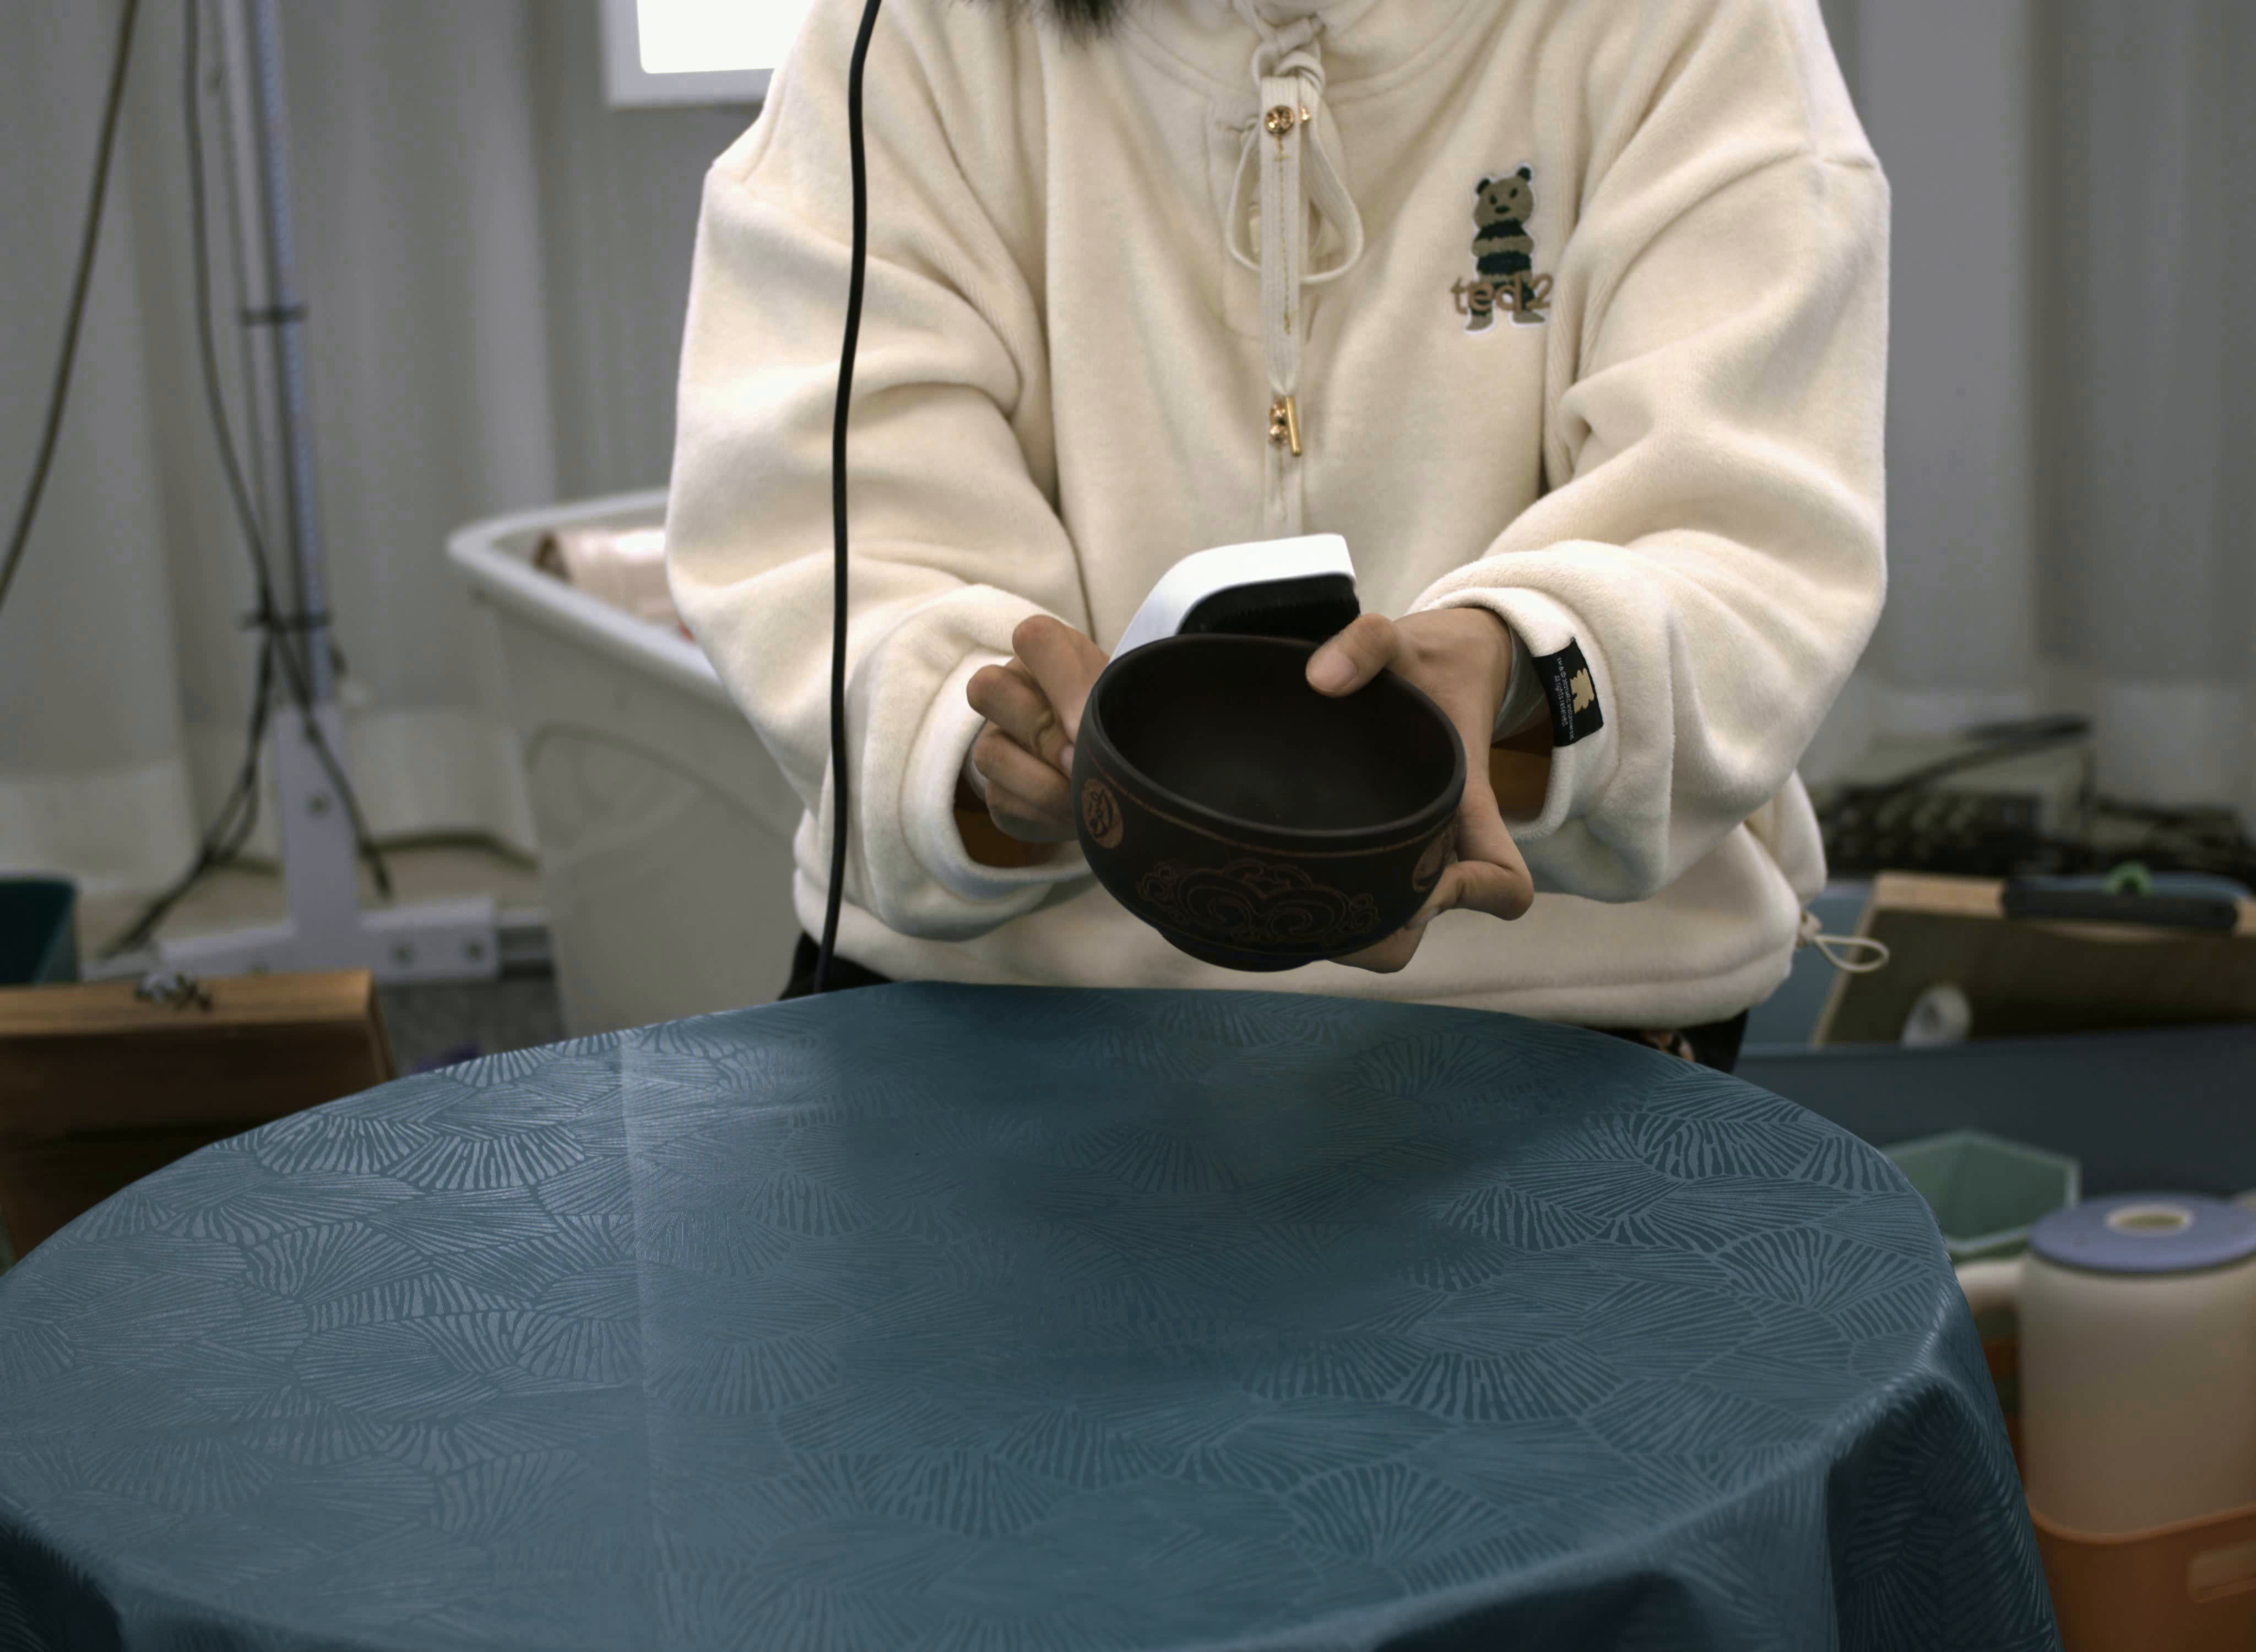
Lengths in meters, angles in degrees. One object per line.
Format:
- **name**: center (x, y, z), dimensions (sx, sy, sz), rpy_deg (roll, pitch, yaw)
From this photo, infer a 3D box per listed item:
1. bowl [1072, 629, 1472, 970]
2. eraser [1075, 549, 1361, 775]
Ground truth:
- **bowl**: center (0.040, -0.001, 1.635), dimensions (0.117, 0.069, 0.119), rpy_deg (9, 30, -5)
- **eraser**: center (0.029, -0.046, 1.725), dimensions (0.063, 0.035, 0.130), rpy_deg (-7, -27, -23)
